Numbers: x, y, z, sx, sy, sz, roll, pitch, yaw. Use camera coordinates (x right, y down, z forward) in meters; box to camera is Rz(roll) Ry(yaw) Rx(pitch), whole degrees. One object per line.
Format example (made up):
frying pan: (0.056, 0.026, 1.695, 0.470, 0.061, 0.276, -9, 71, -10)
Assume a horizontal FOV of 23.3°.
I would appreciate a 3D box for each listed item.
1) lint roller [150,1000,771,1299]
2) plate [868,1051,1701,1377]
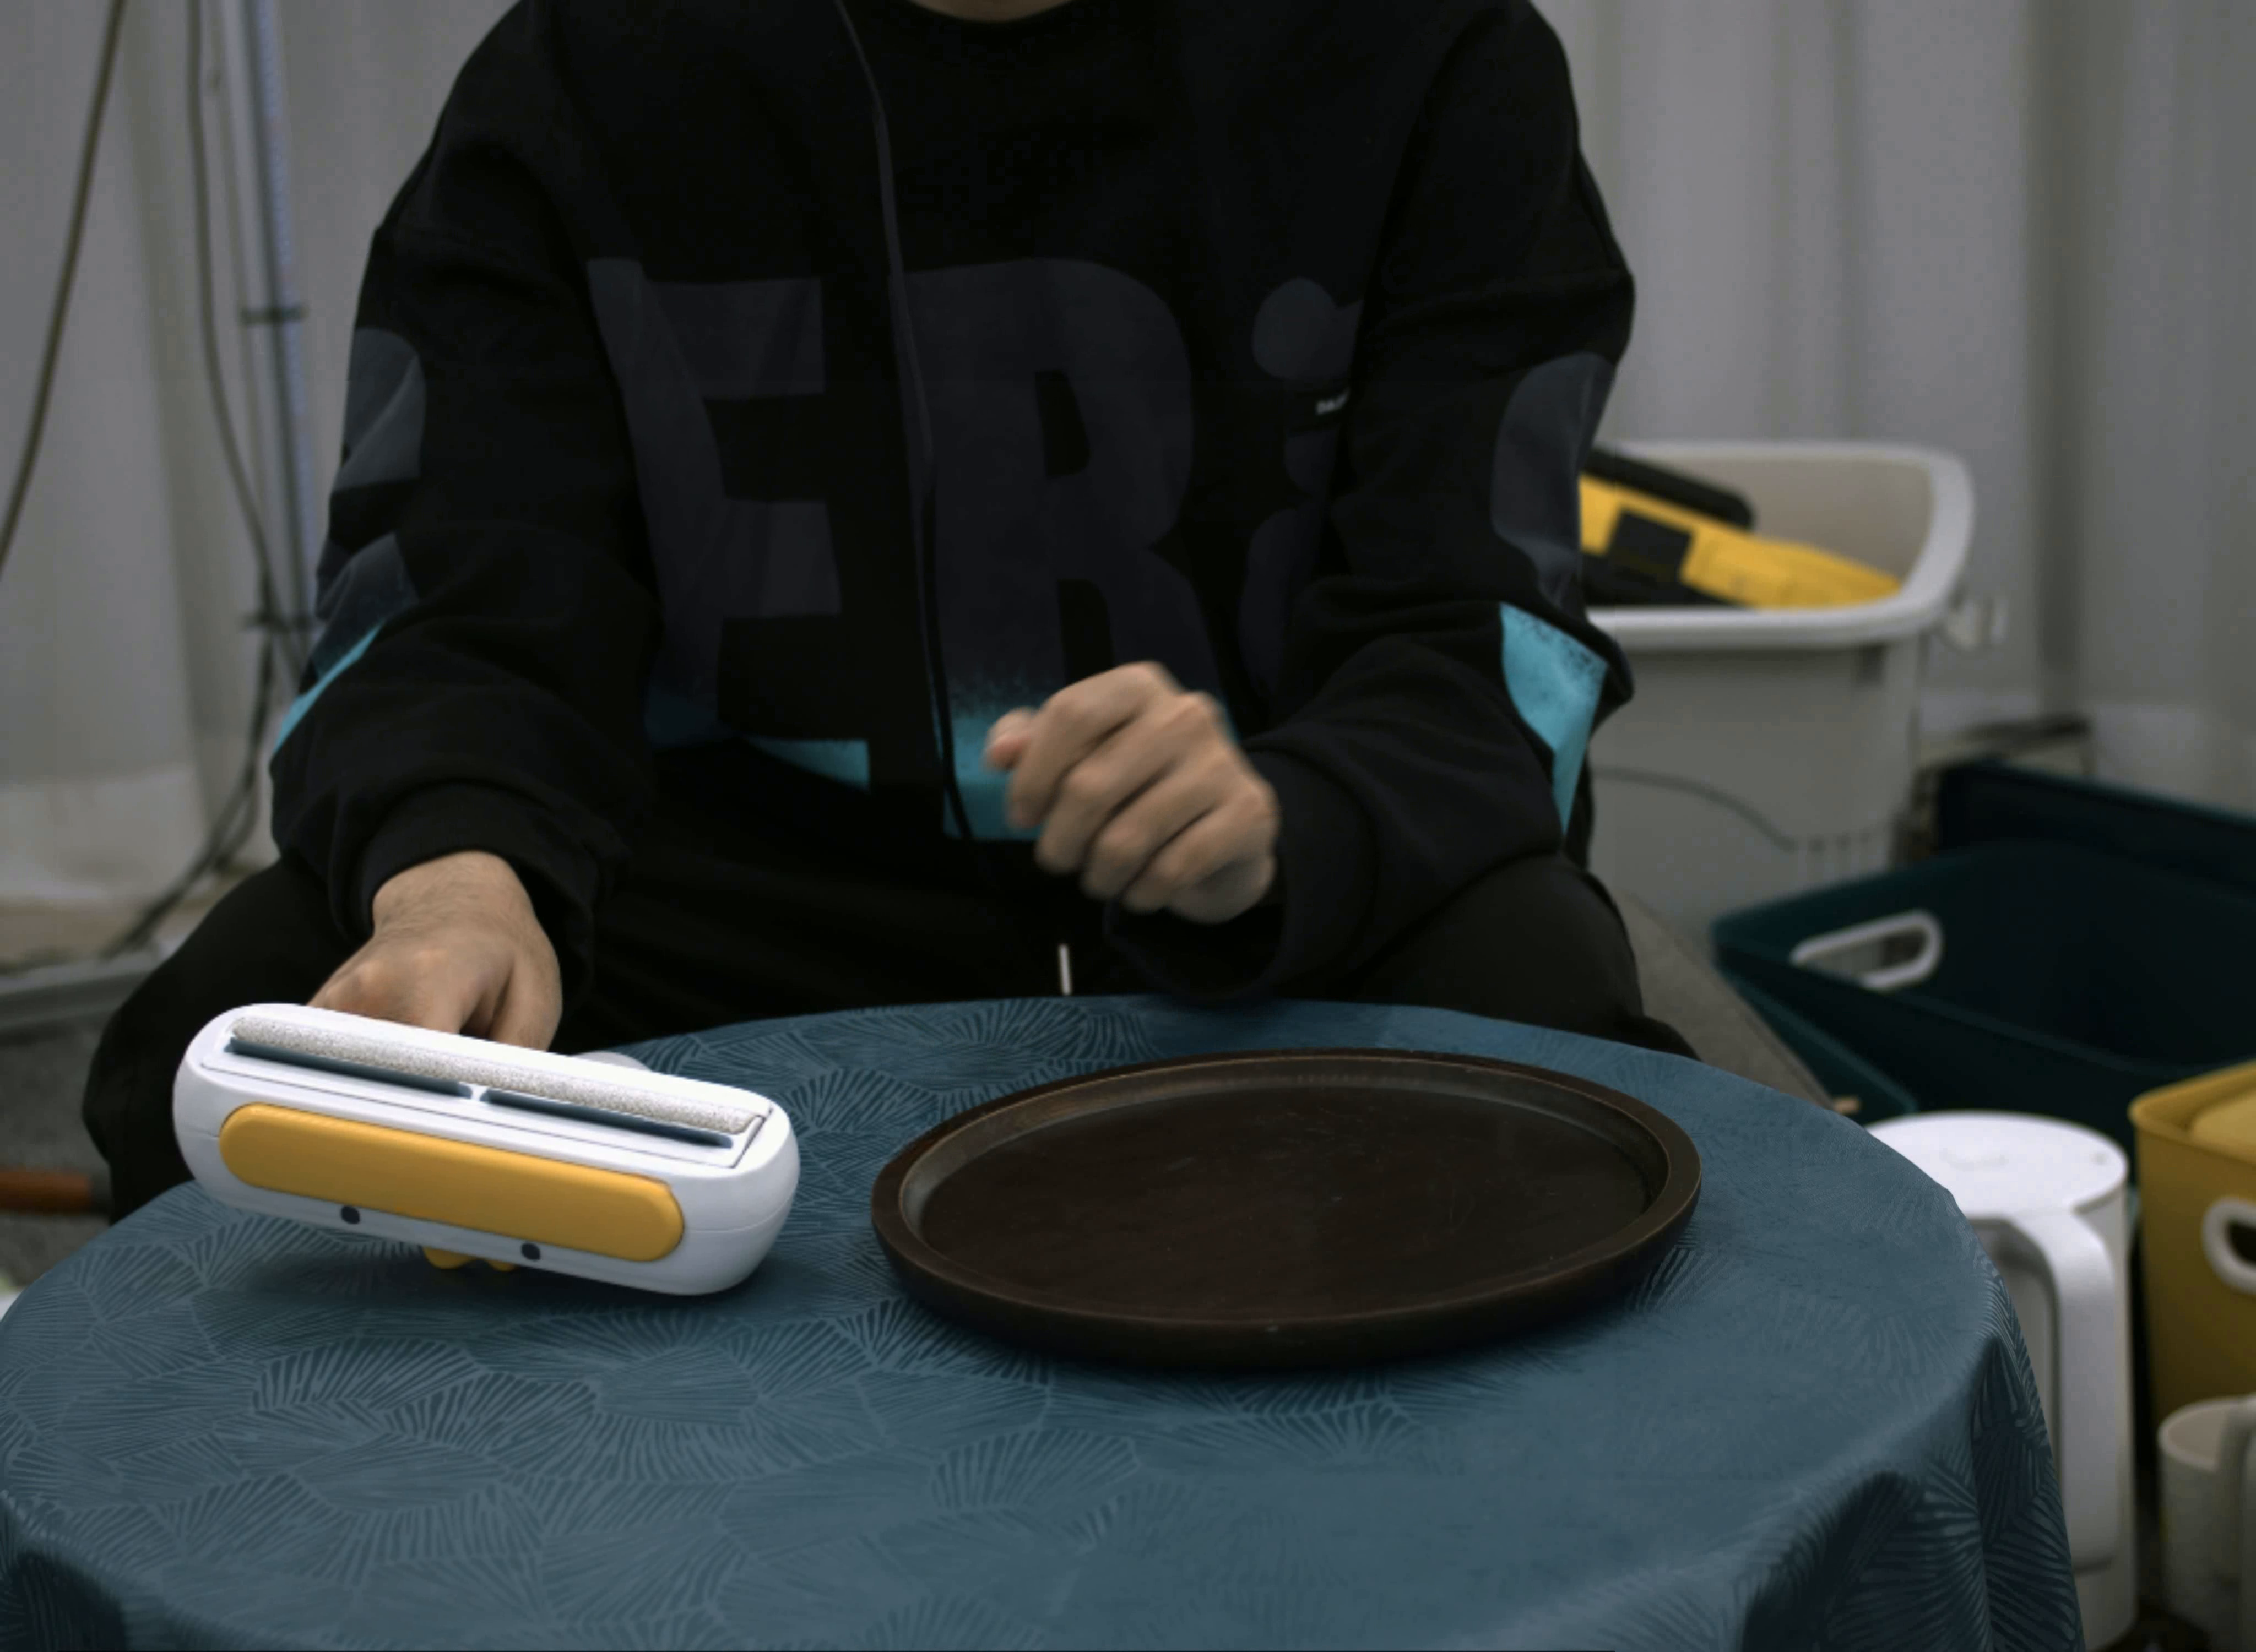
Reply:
lint roller: (-0.187, 0.090, 1.715, 0.193, 0.074, 0.193, 7, 15, 15)
plate: (0.047, 0.115, 1.657, 0.254, 0.029, 0.256, -3, 14, 0)
